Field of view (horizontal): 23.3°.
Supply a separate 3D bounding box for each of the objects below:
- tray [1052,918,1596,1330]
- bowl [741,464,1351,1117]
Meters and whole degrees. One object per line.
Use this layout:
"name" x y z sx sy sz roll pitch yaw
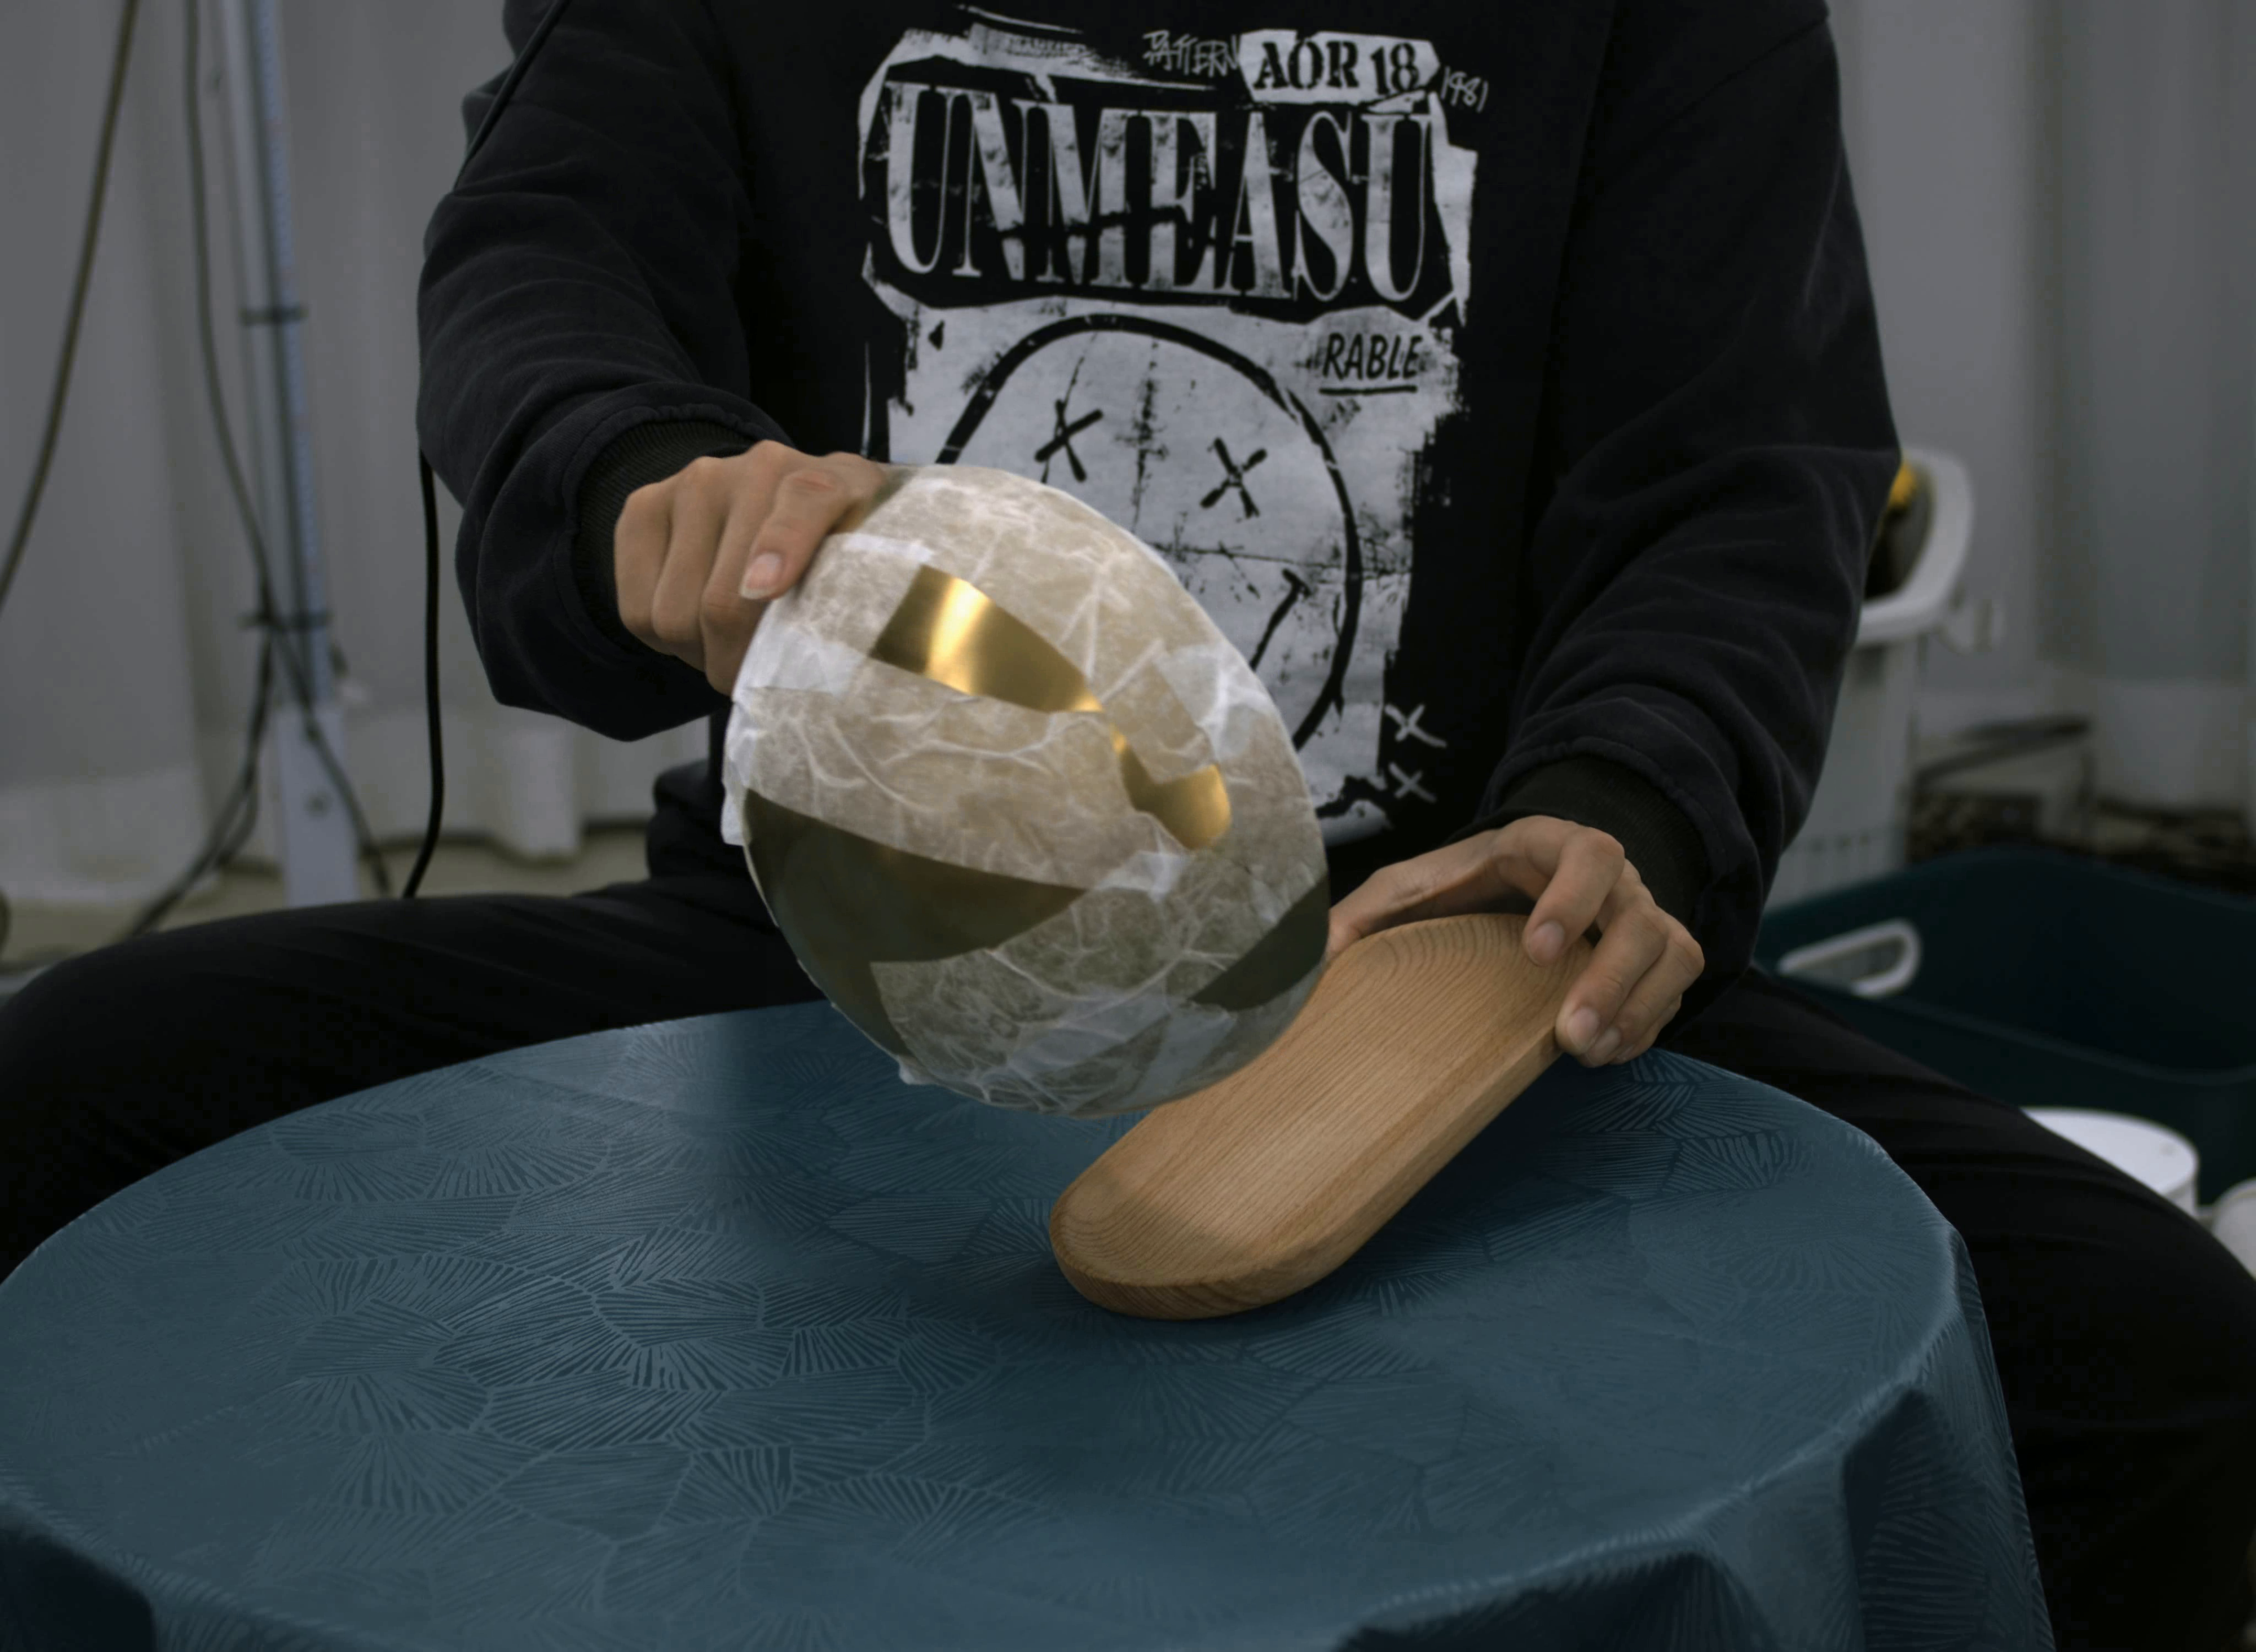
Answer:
"tray" 0.063 0.089 1.675 0.102 0.020 0.232 2 30 36
"bowl" -0.042 0.009 1.575 0.216 0.212 0.095 12 38 44
